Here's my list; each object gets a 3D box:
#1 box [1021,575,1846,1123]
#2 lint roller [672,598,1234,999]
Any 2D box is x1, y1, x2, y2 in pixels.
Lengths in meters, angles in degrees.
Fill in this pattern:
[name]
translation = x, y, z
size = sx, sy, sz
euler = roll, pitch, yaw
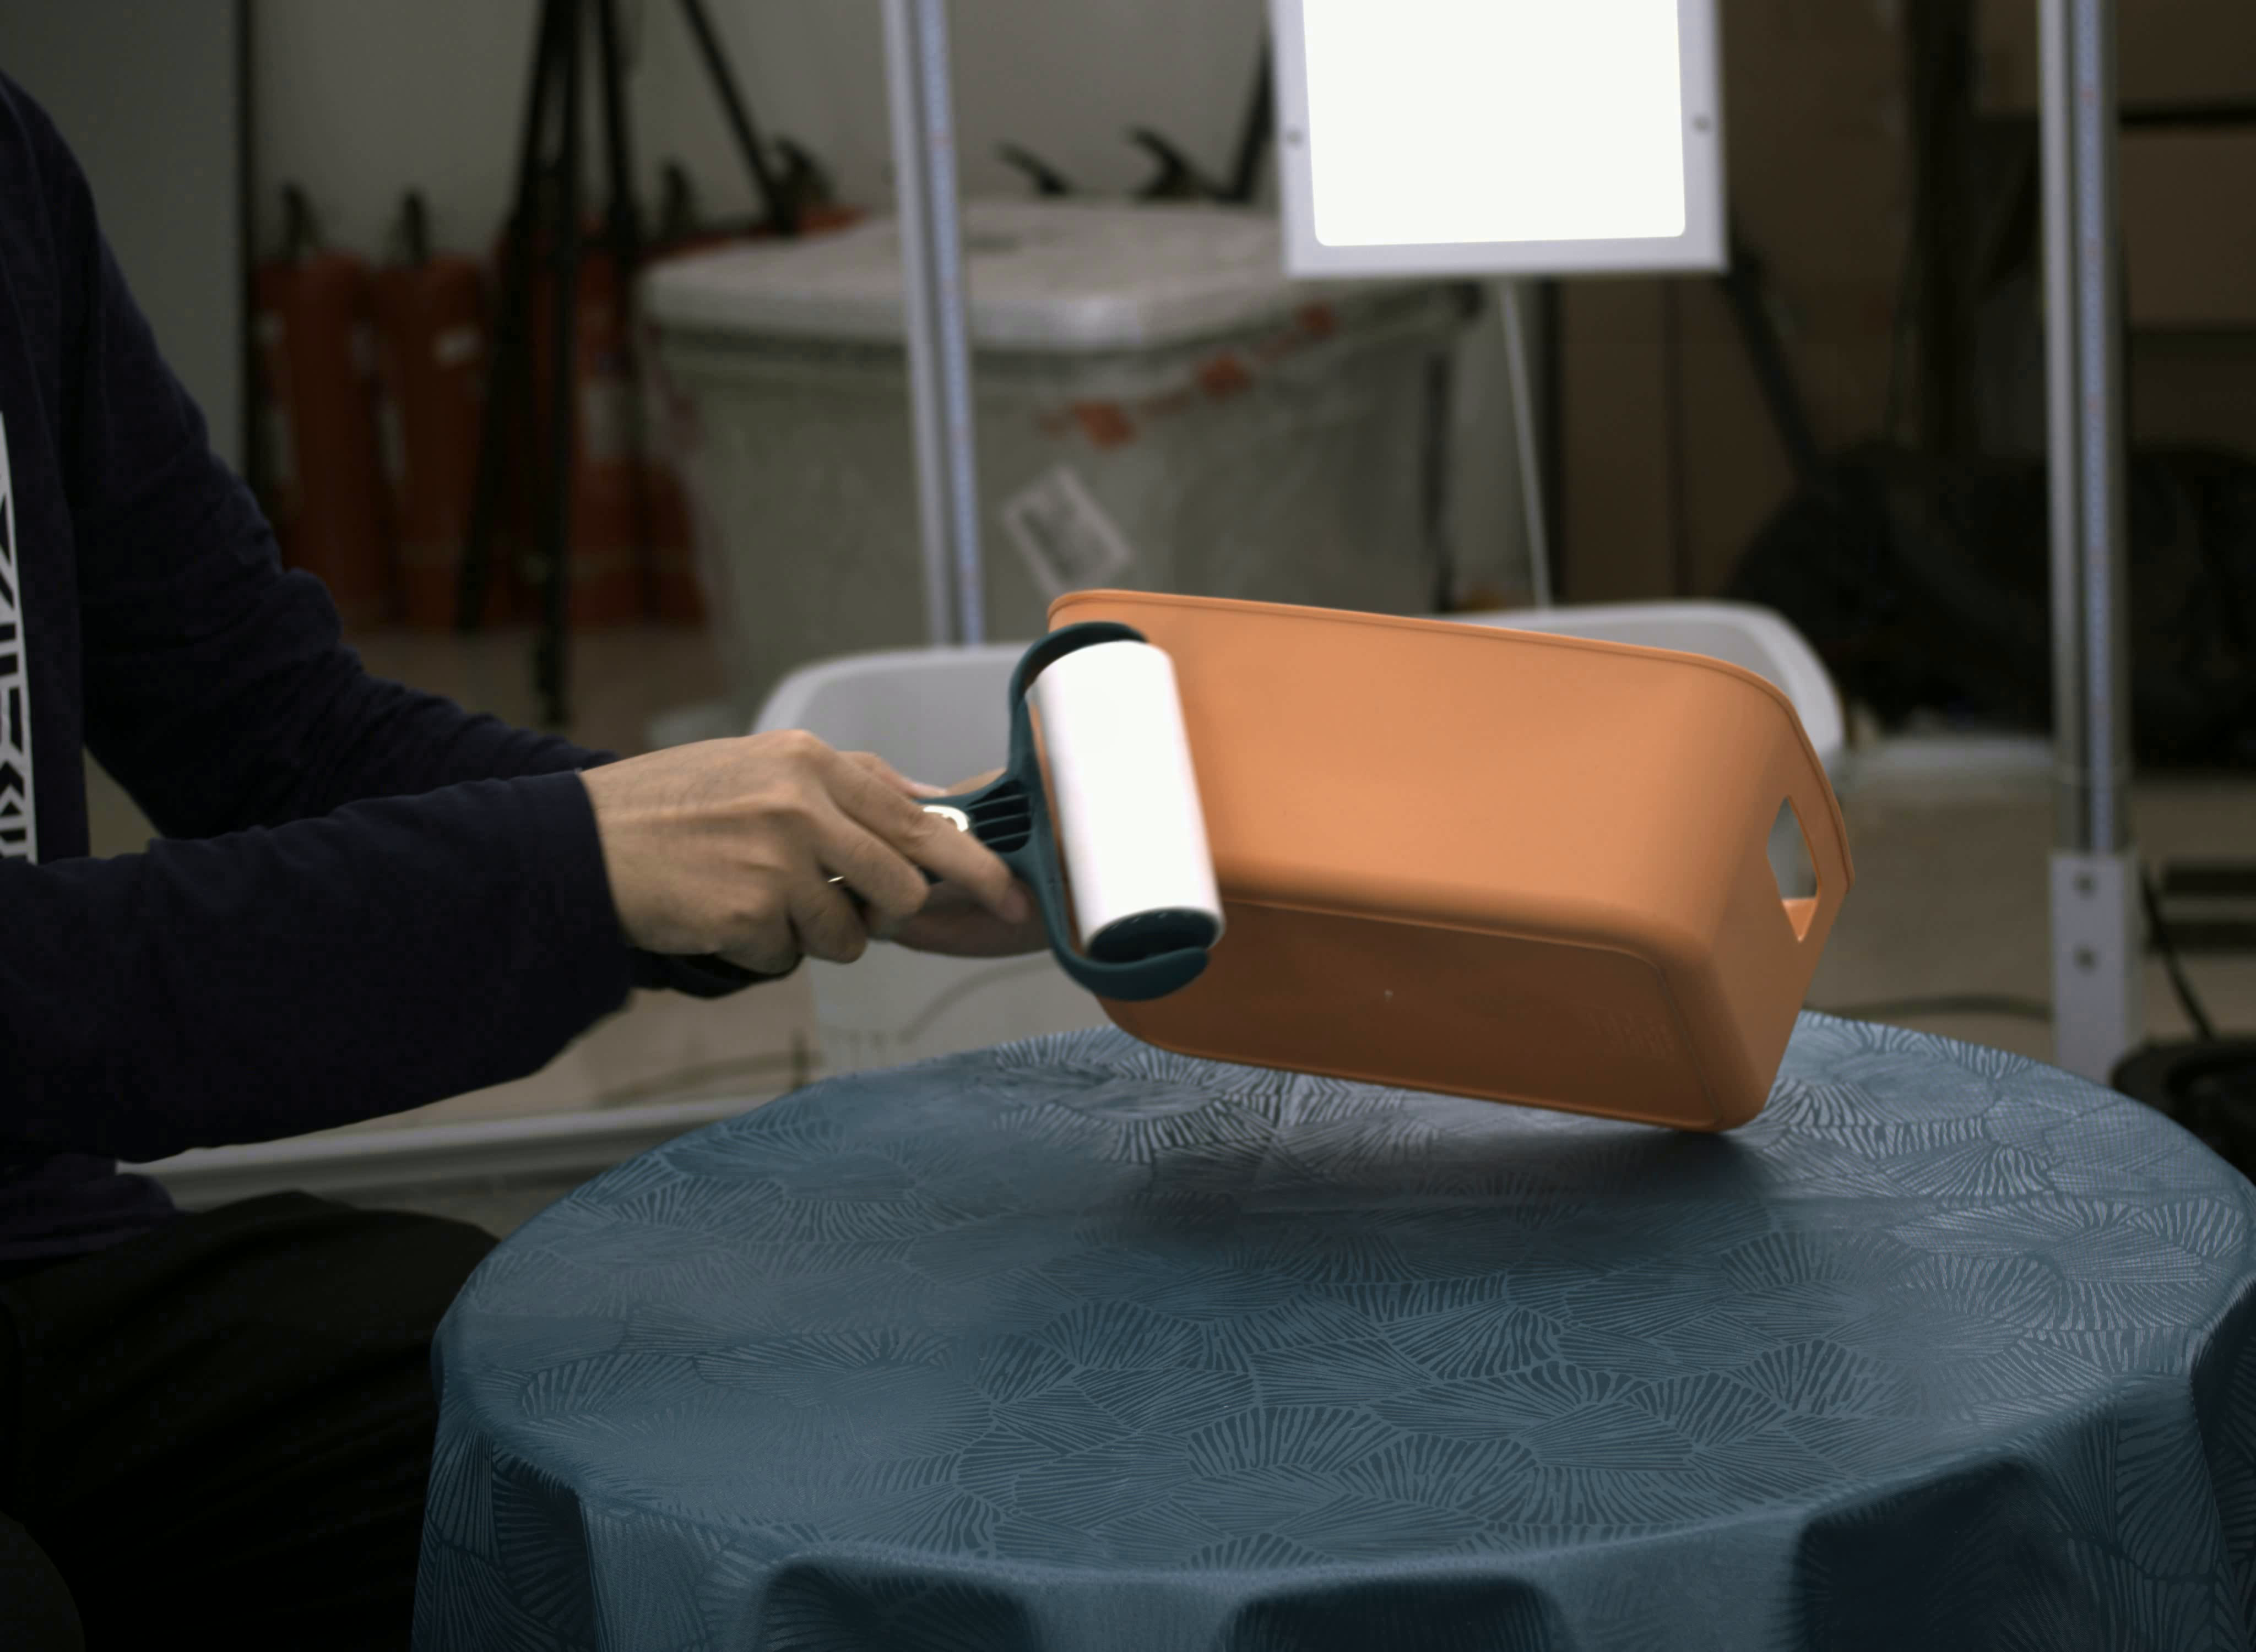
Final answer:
[box]
translation = 0.101, 0.012, 1.896
size = 0.277, 0.102, 0.198
euler = 7, -25, 21
[lint roller]
translation = -0.062, 0.002, 1.810
size = 0.179, 0.134, 0.048
euler = -9, -26, -3
